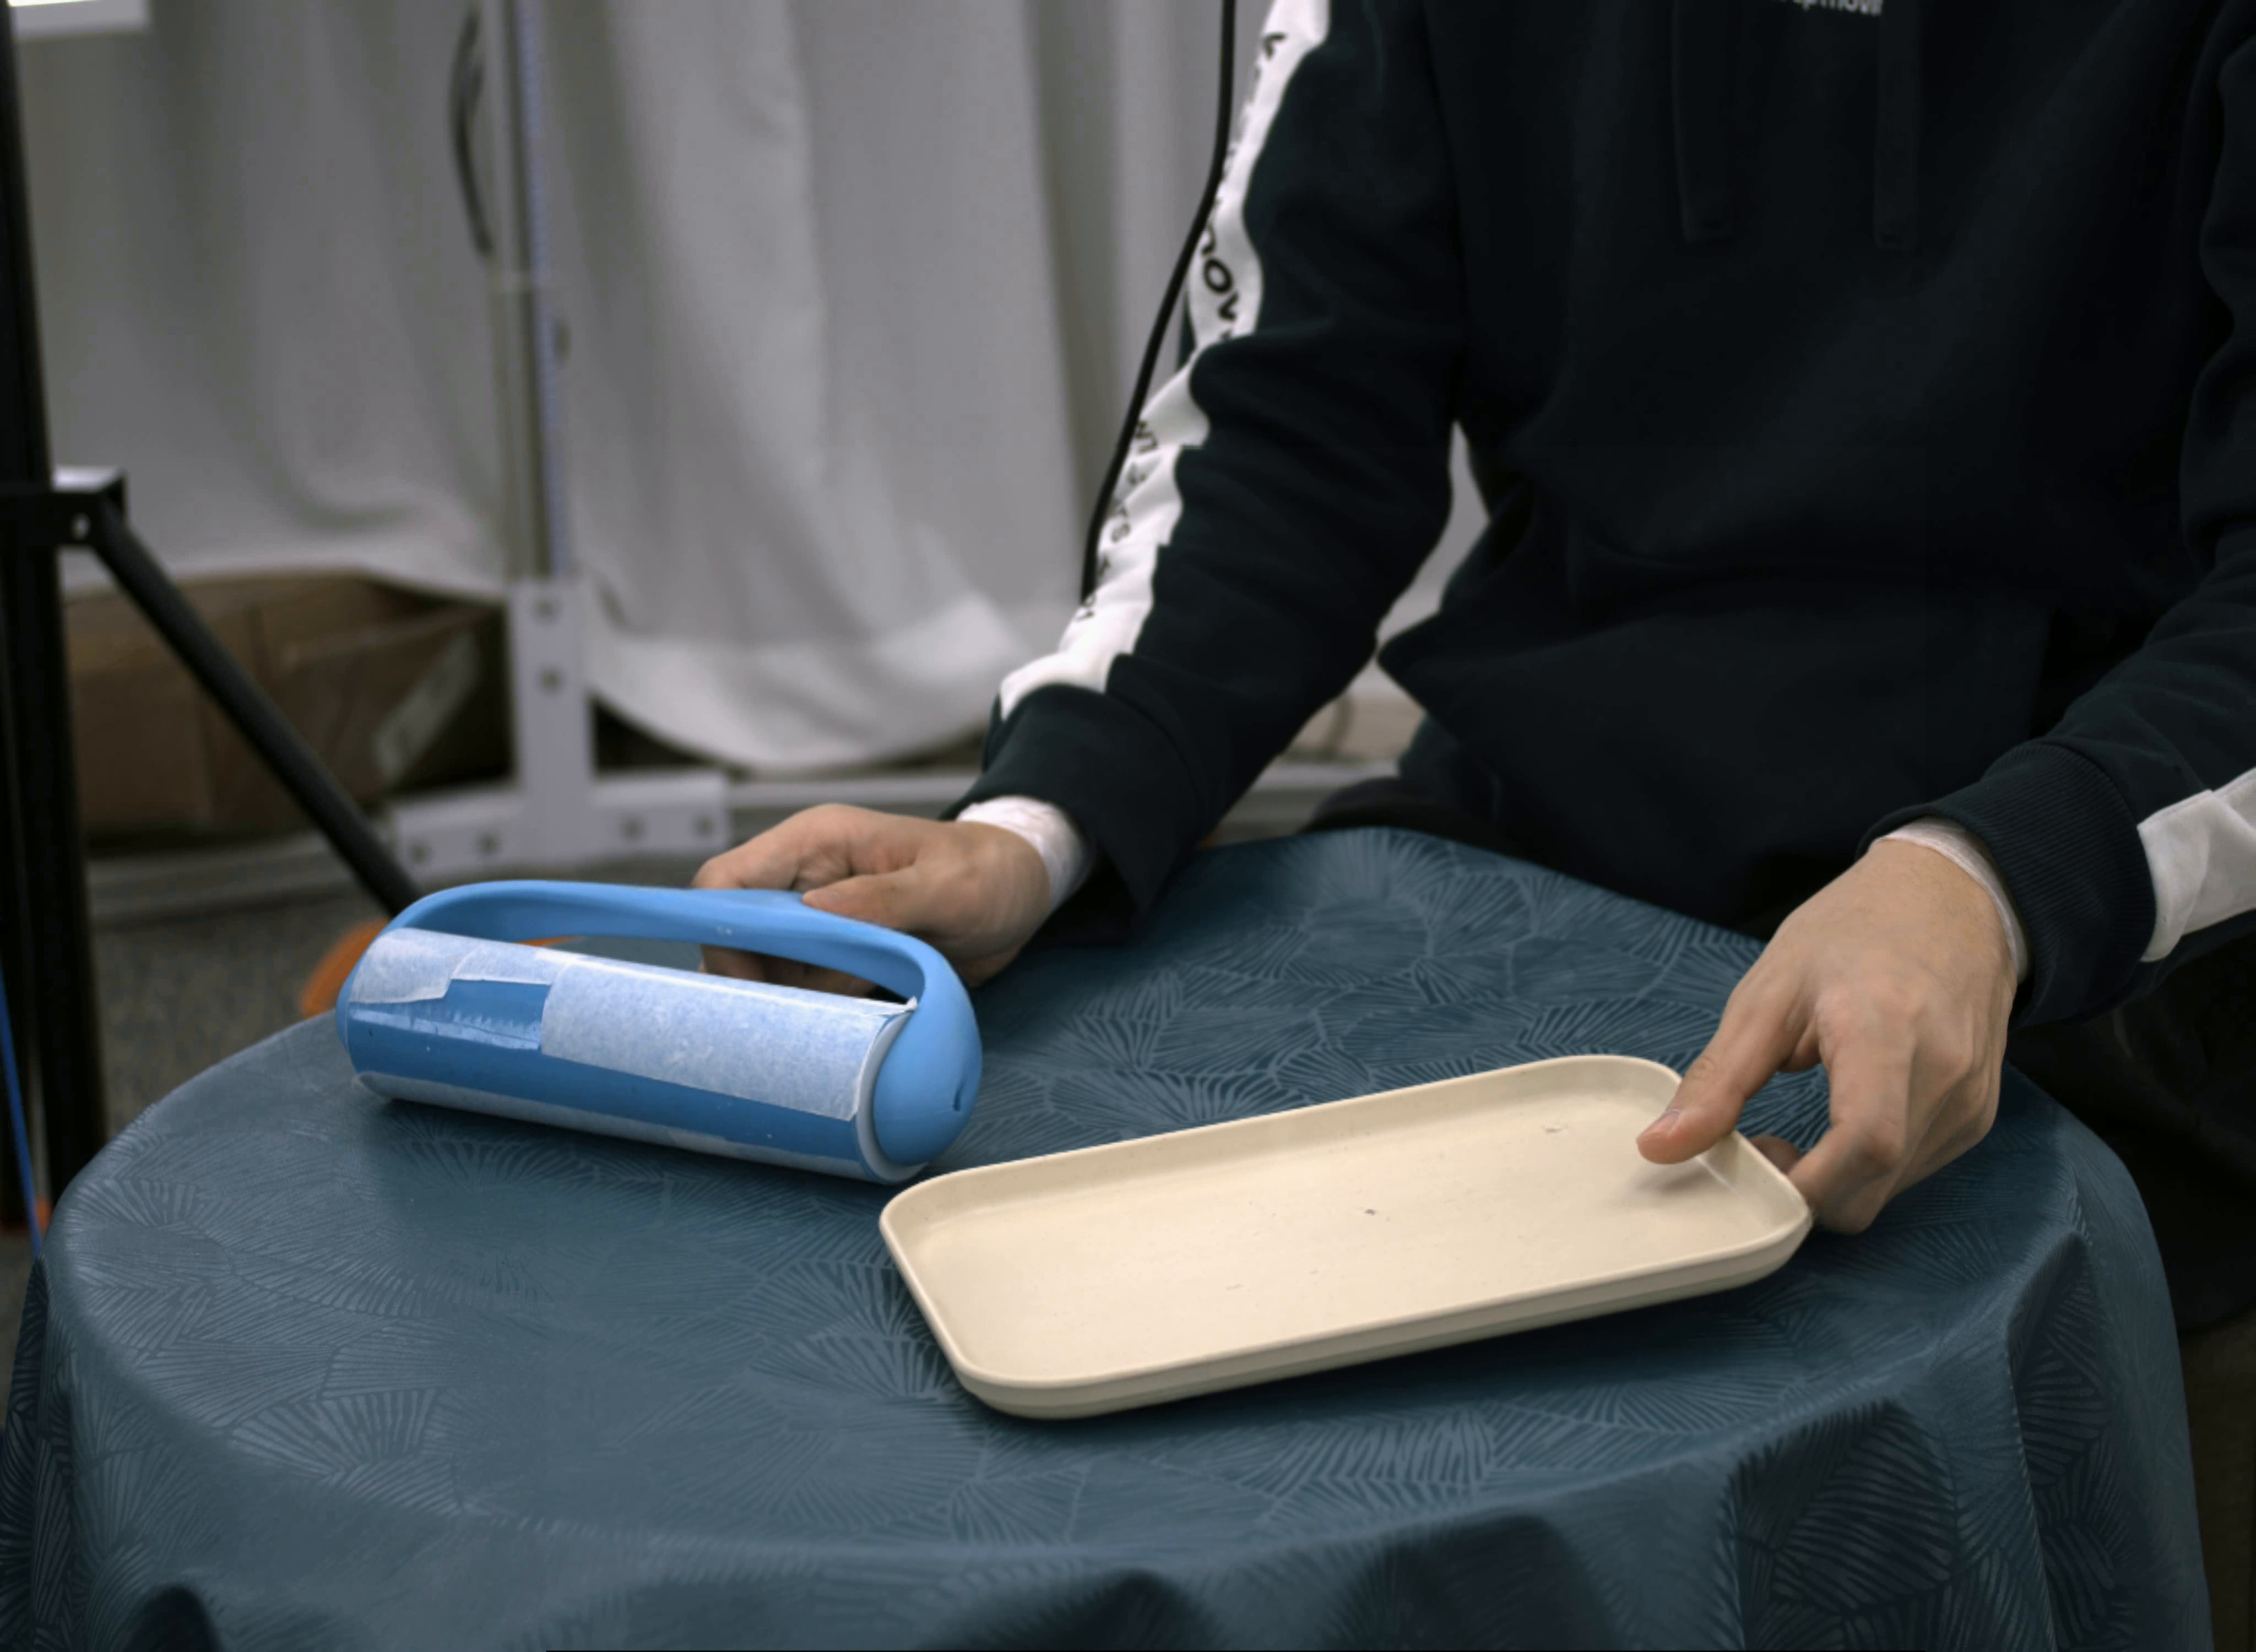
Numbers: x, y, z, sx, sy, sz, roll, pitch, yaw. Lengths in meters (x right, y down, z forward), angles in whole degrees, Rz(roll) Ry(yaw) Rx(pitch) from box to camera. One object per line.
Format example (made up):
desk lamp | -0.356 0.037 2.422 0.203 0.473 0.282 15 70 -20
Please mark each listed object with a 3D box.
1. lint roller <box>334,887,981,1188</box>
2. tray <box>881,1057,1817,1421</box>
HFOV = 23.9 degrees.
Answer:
lint roller | -0.119 0.053 1.669 0.233 0.068 0.177 5 18 30
tray | 0.059 0.114 1.465 0.237 0.017 0.173 -10 16 -9
